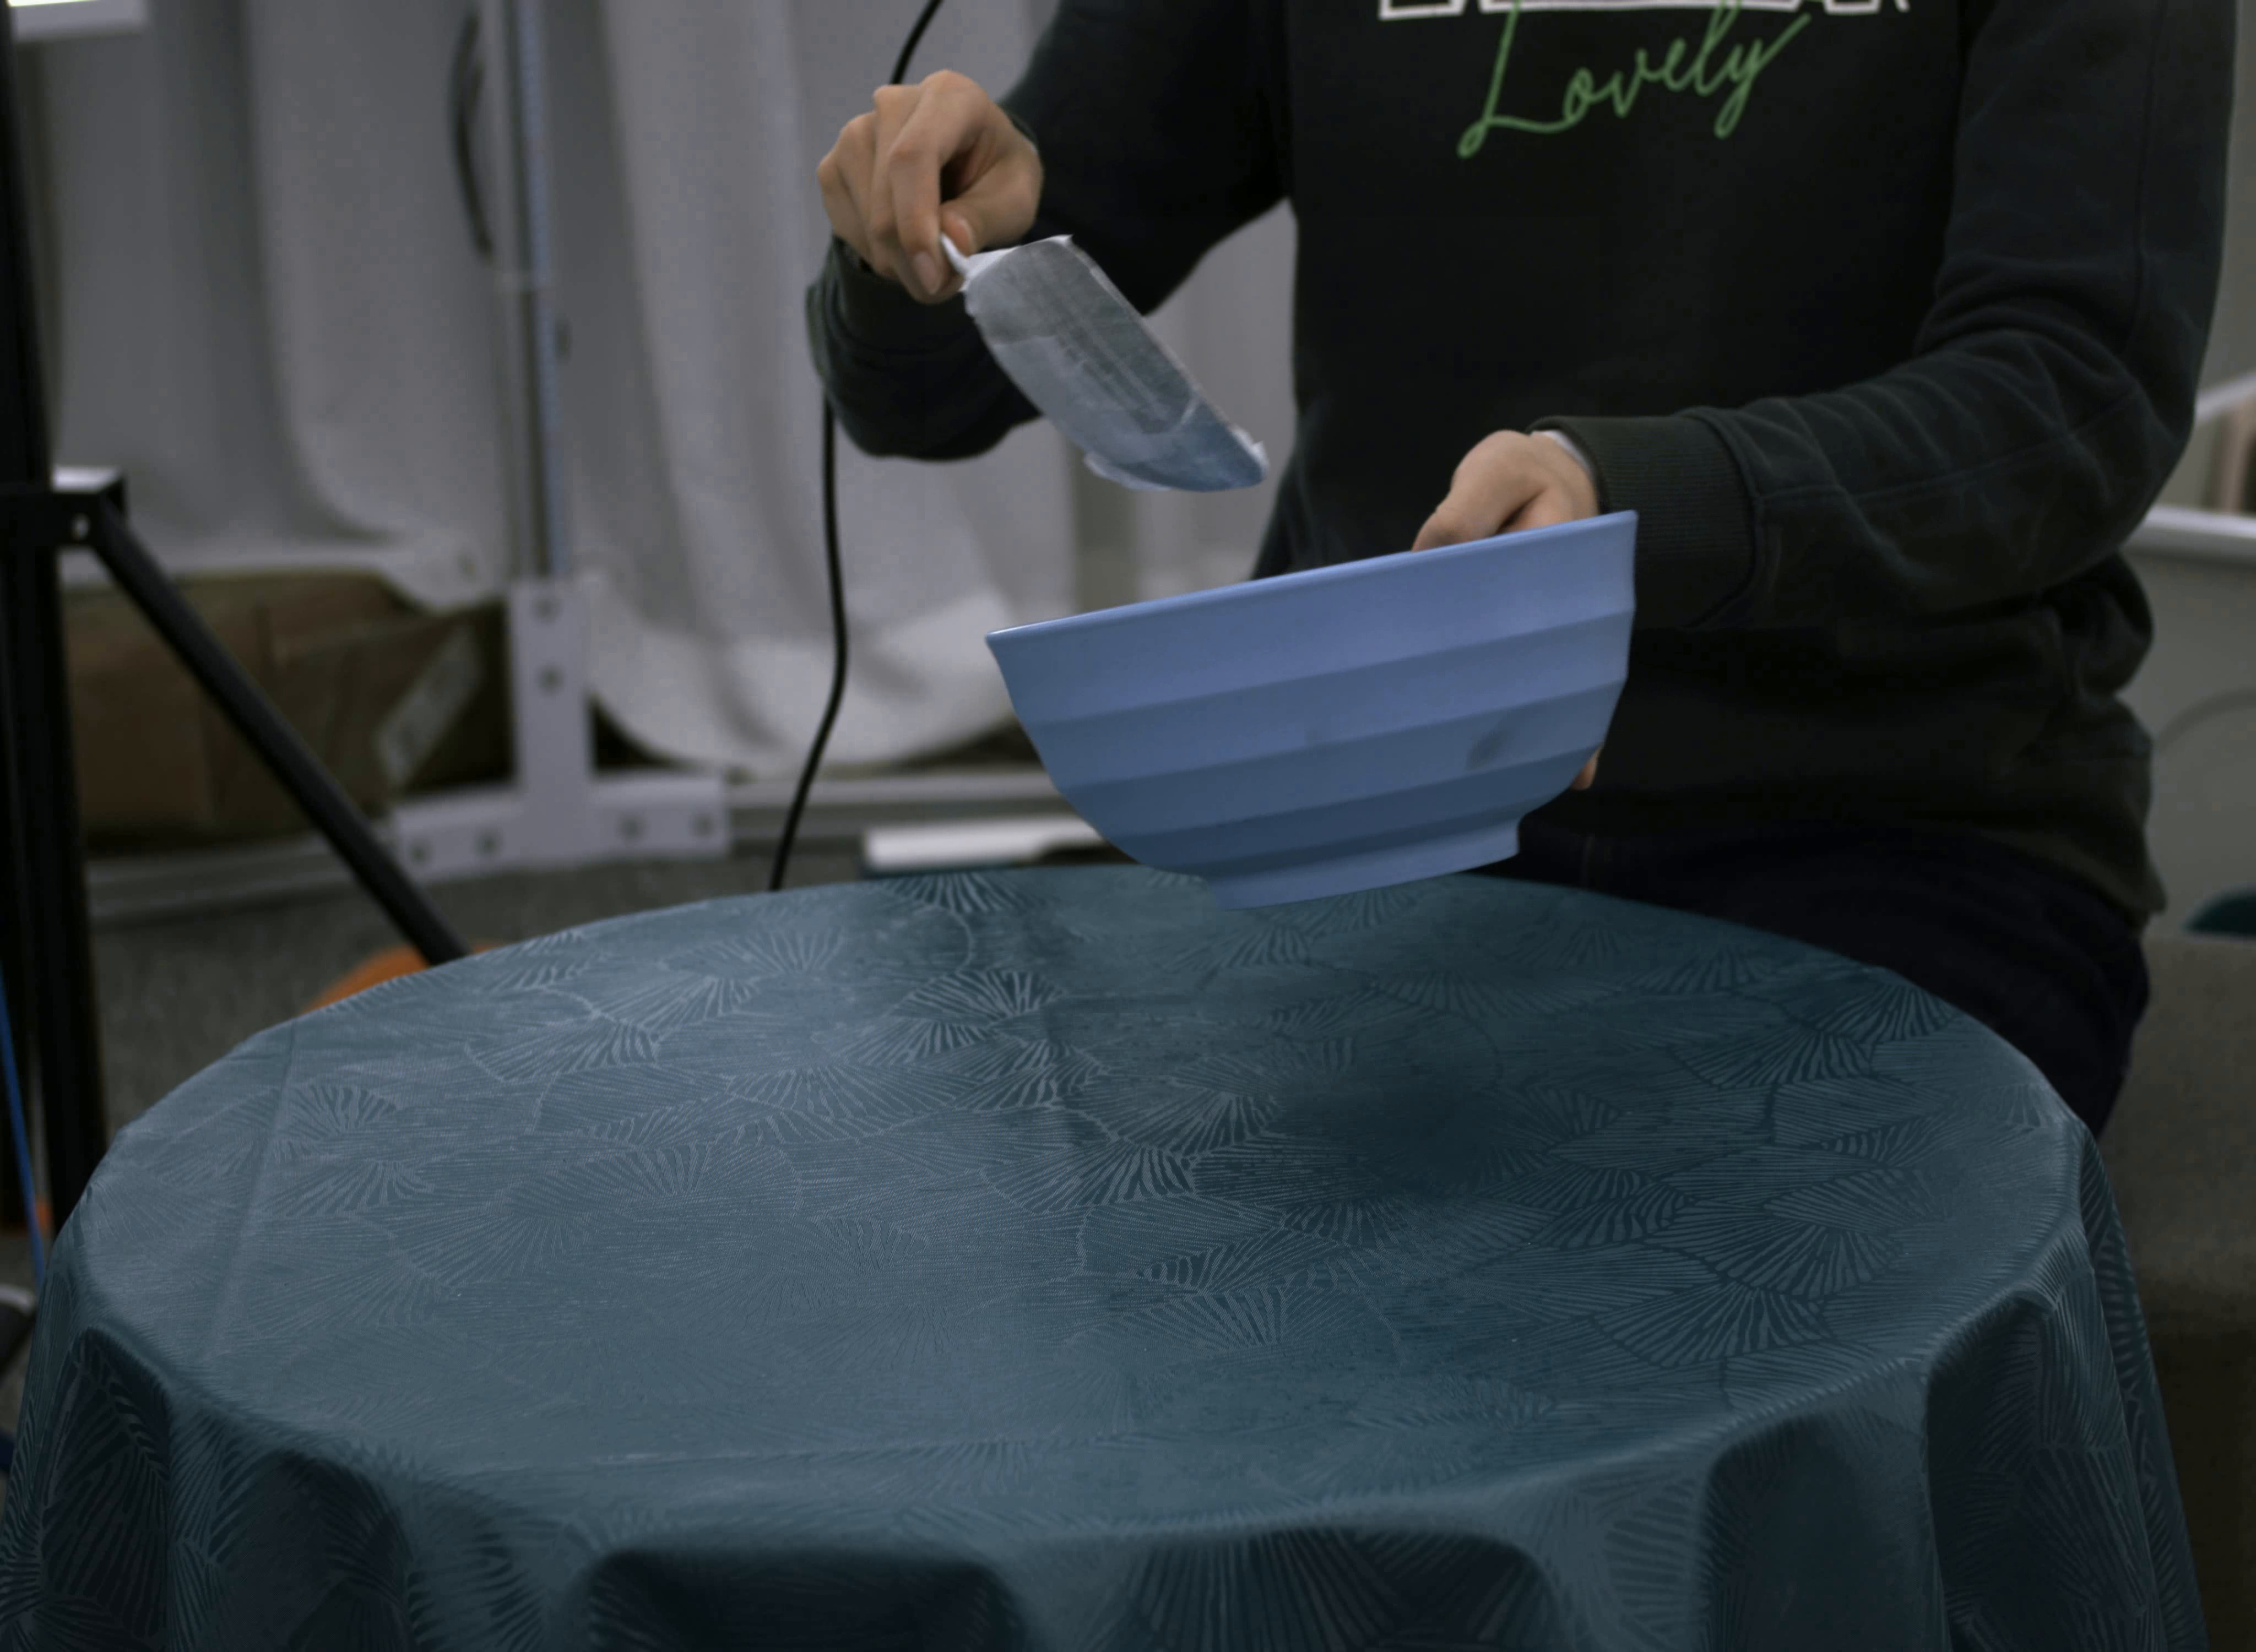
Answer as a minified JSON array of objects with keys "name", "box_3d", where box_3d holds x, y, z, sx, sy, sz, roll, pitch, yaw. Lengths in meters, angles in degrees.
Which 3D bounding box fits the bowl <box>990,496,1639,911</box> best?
[{"name":"bowl","box_3d":[0.064,-0.030,1.571,0.195,0.096,0.197,-12,2,-1]}]

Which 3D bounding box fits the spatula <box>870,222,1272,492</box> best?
[{"name":"spatula","box_3d":[-0.036,-0.165,1.677,0.045,0.097,0.369,-42,19,2]}]
